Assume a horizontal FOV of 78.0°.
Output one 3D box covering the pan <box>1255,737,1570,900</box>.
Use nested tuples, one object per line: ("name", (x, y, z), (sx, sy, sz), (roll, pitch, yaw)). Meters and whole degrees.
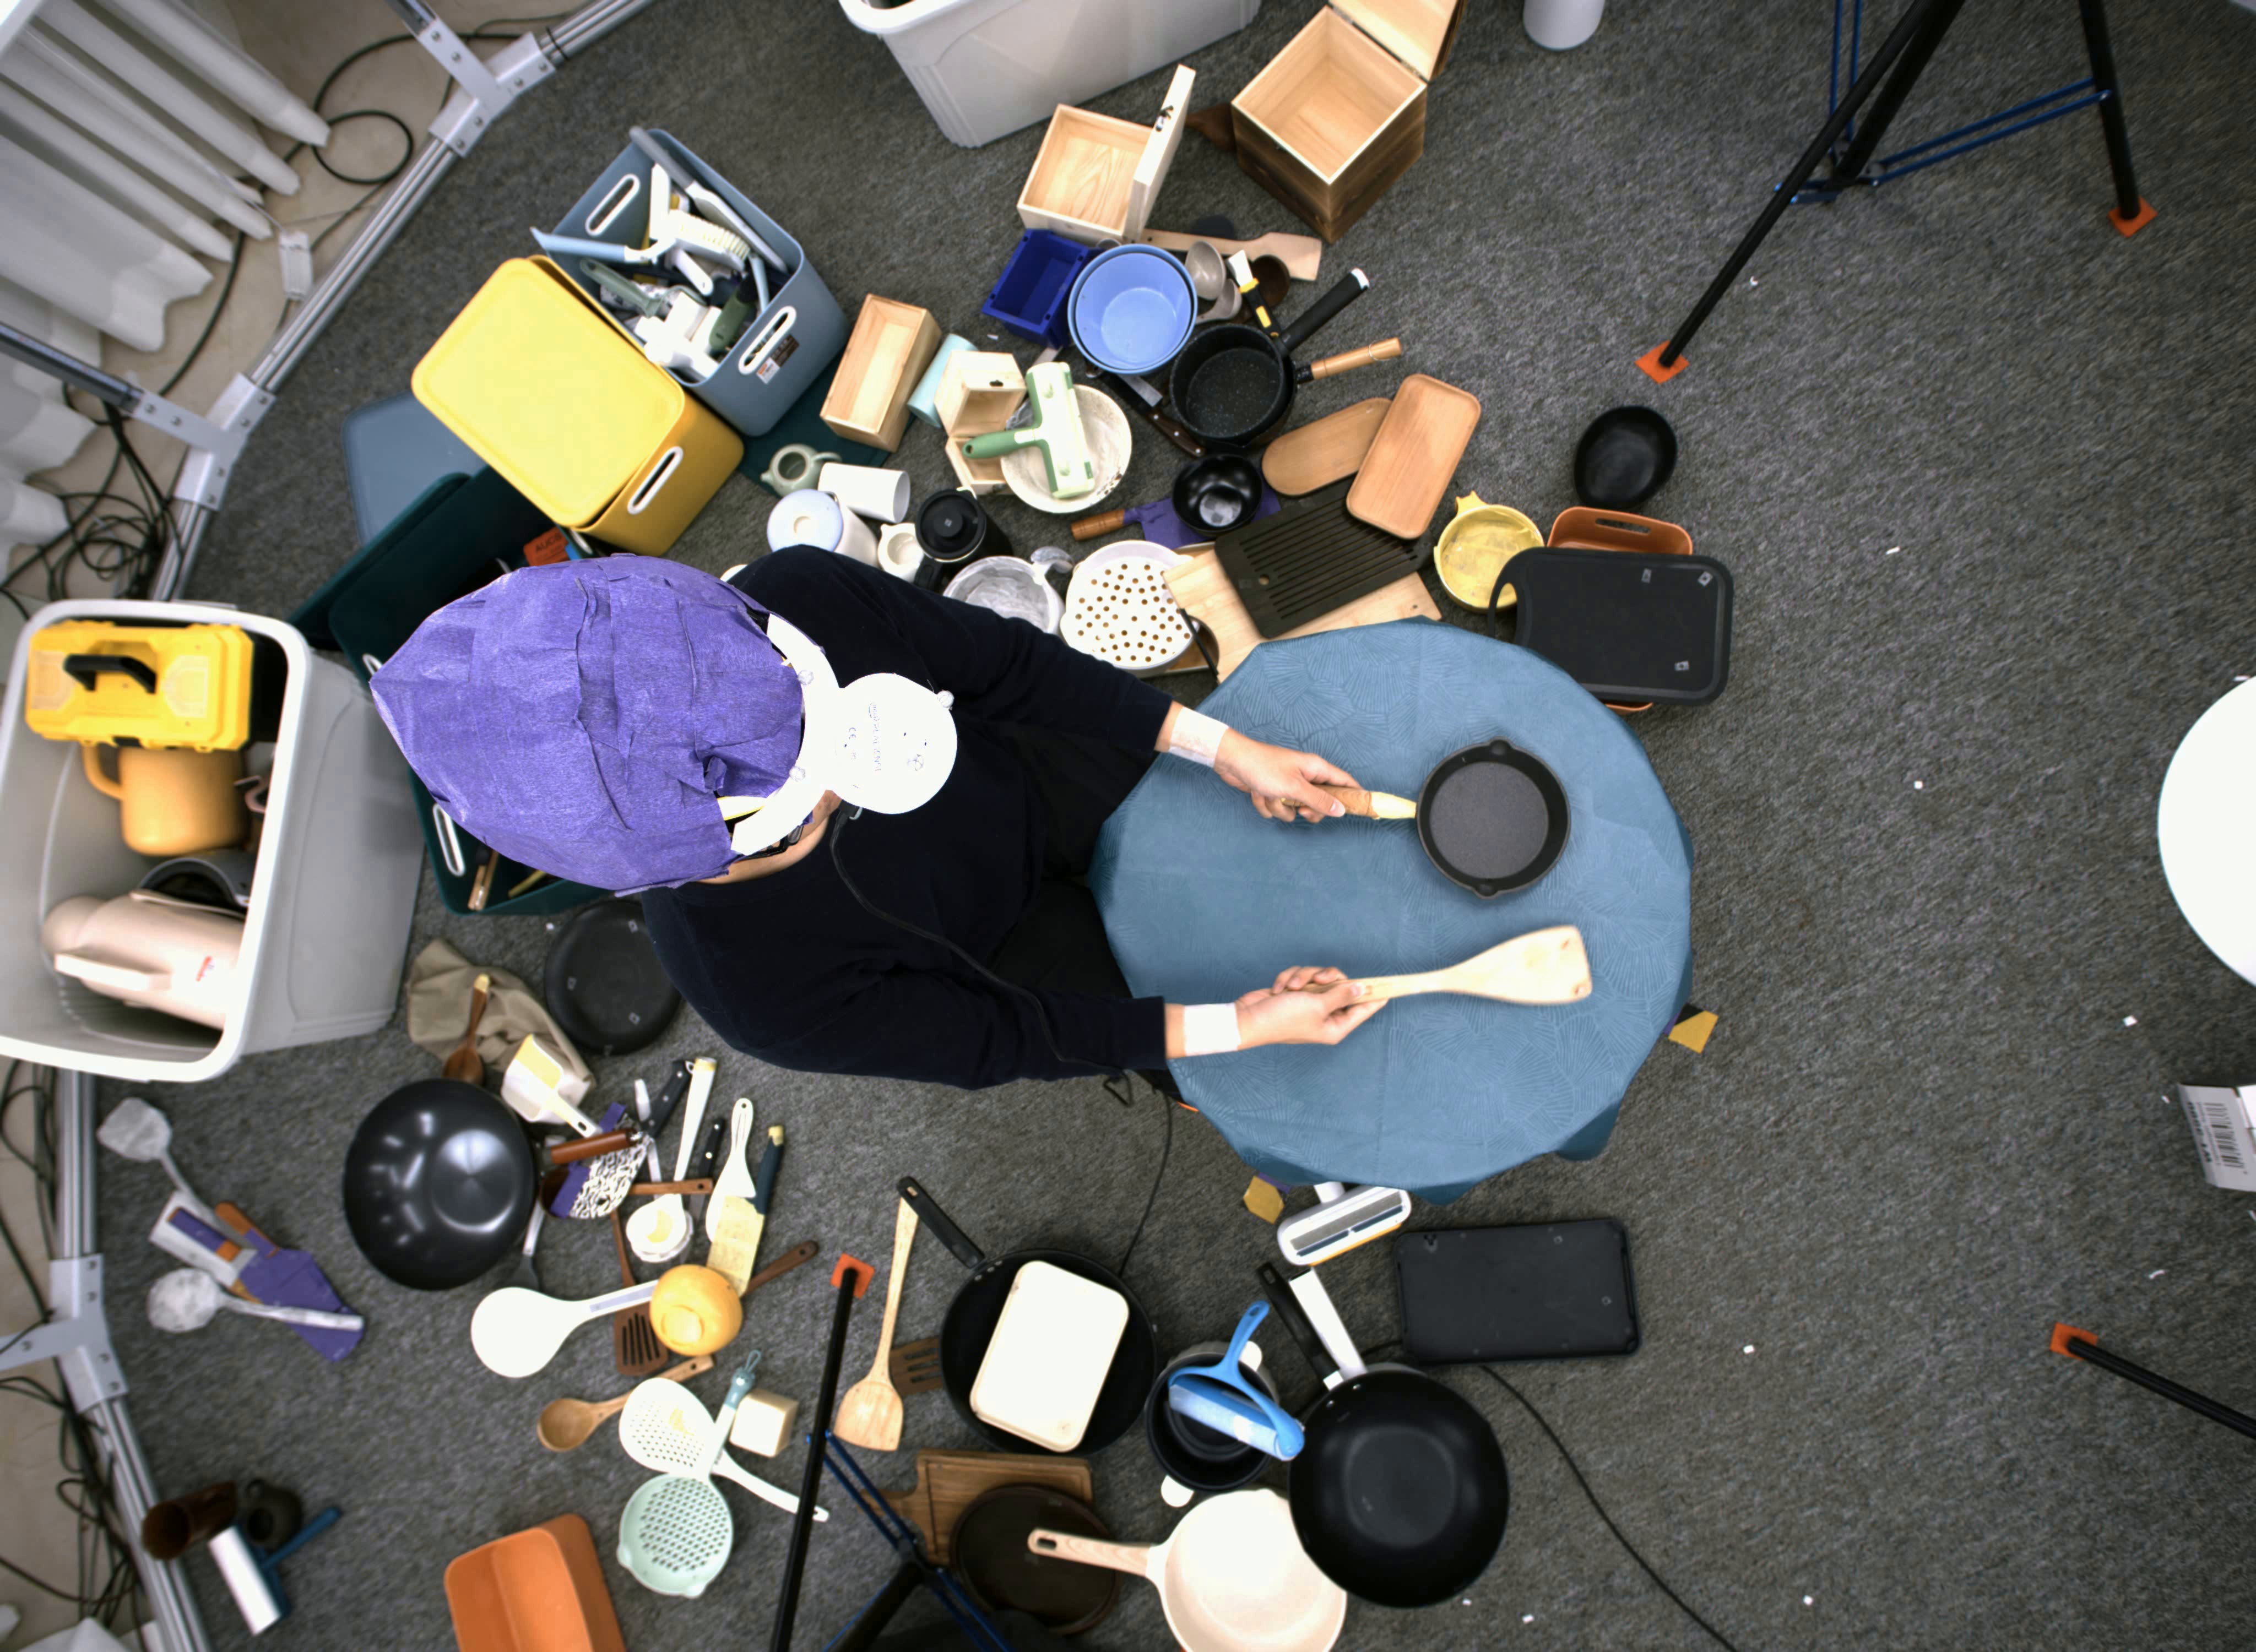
("pan", (0.292, -0.021, 1.424), (0.325, 0.049, 0.168), (8, 88, 5))

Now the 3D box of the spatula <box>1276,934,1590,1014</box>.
("spatula", (0.310, 0.160, 1.398), (0.327, 0.016, 0.080), (-5, 95, -7))
